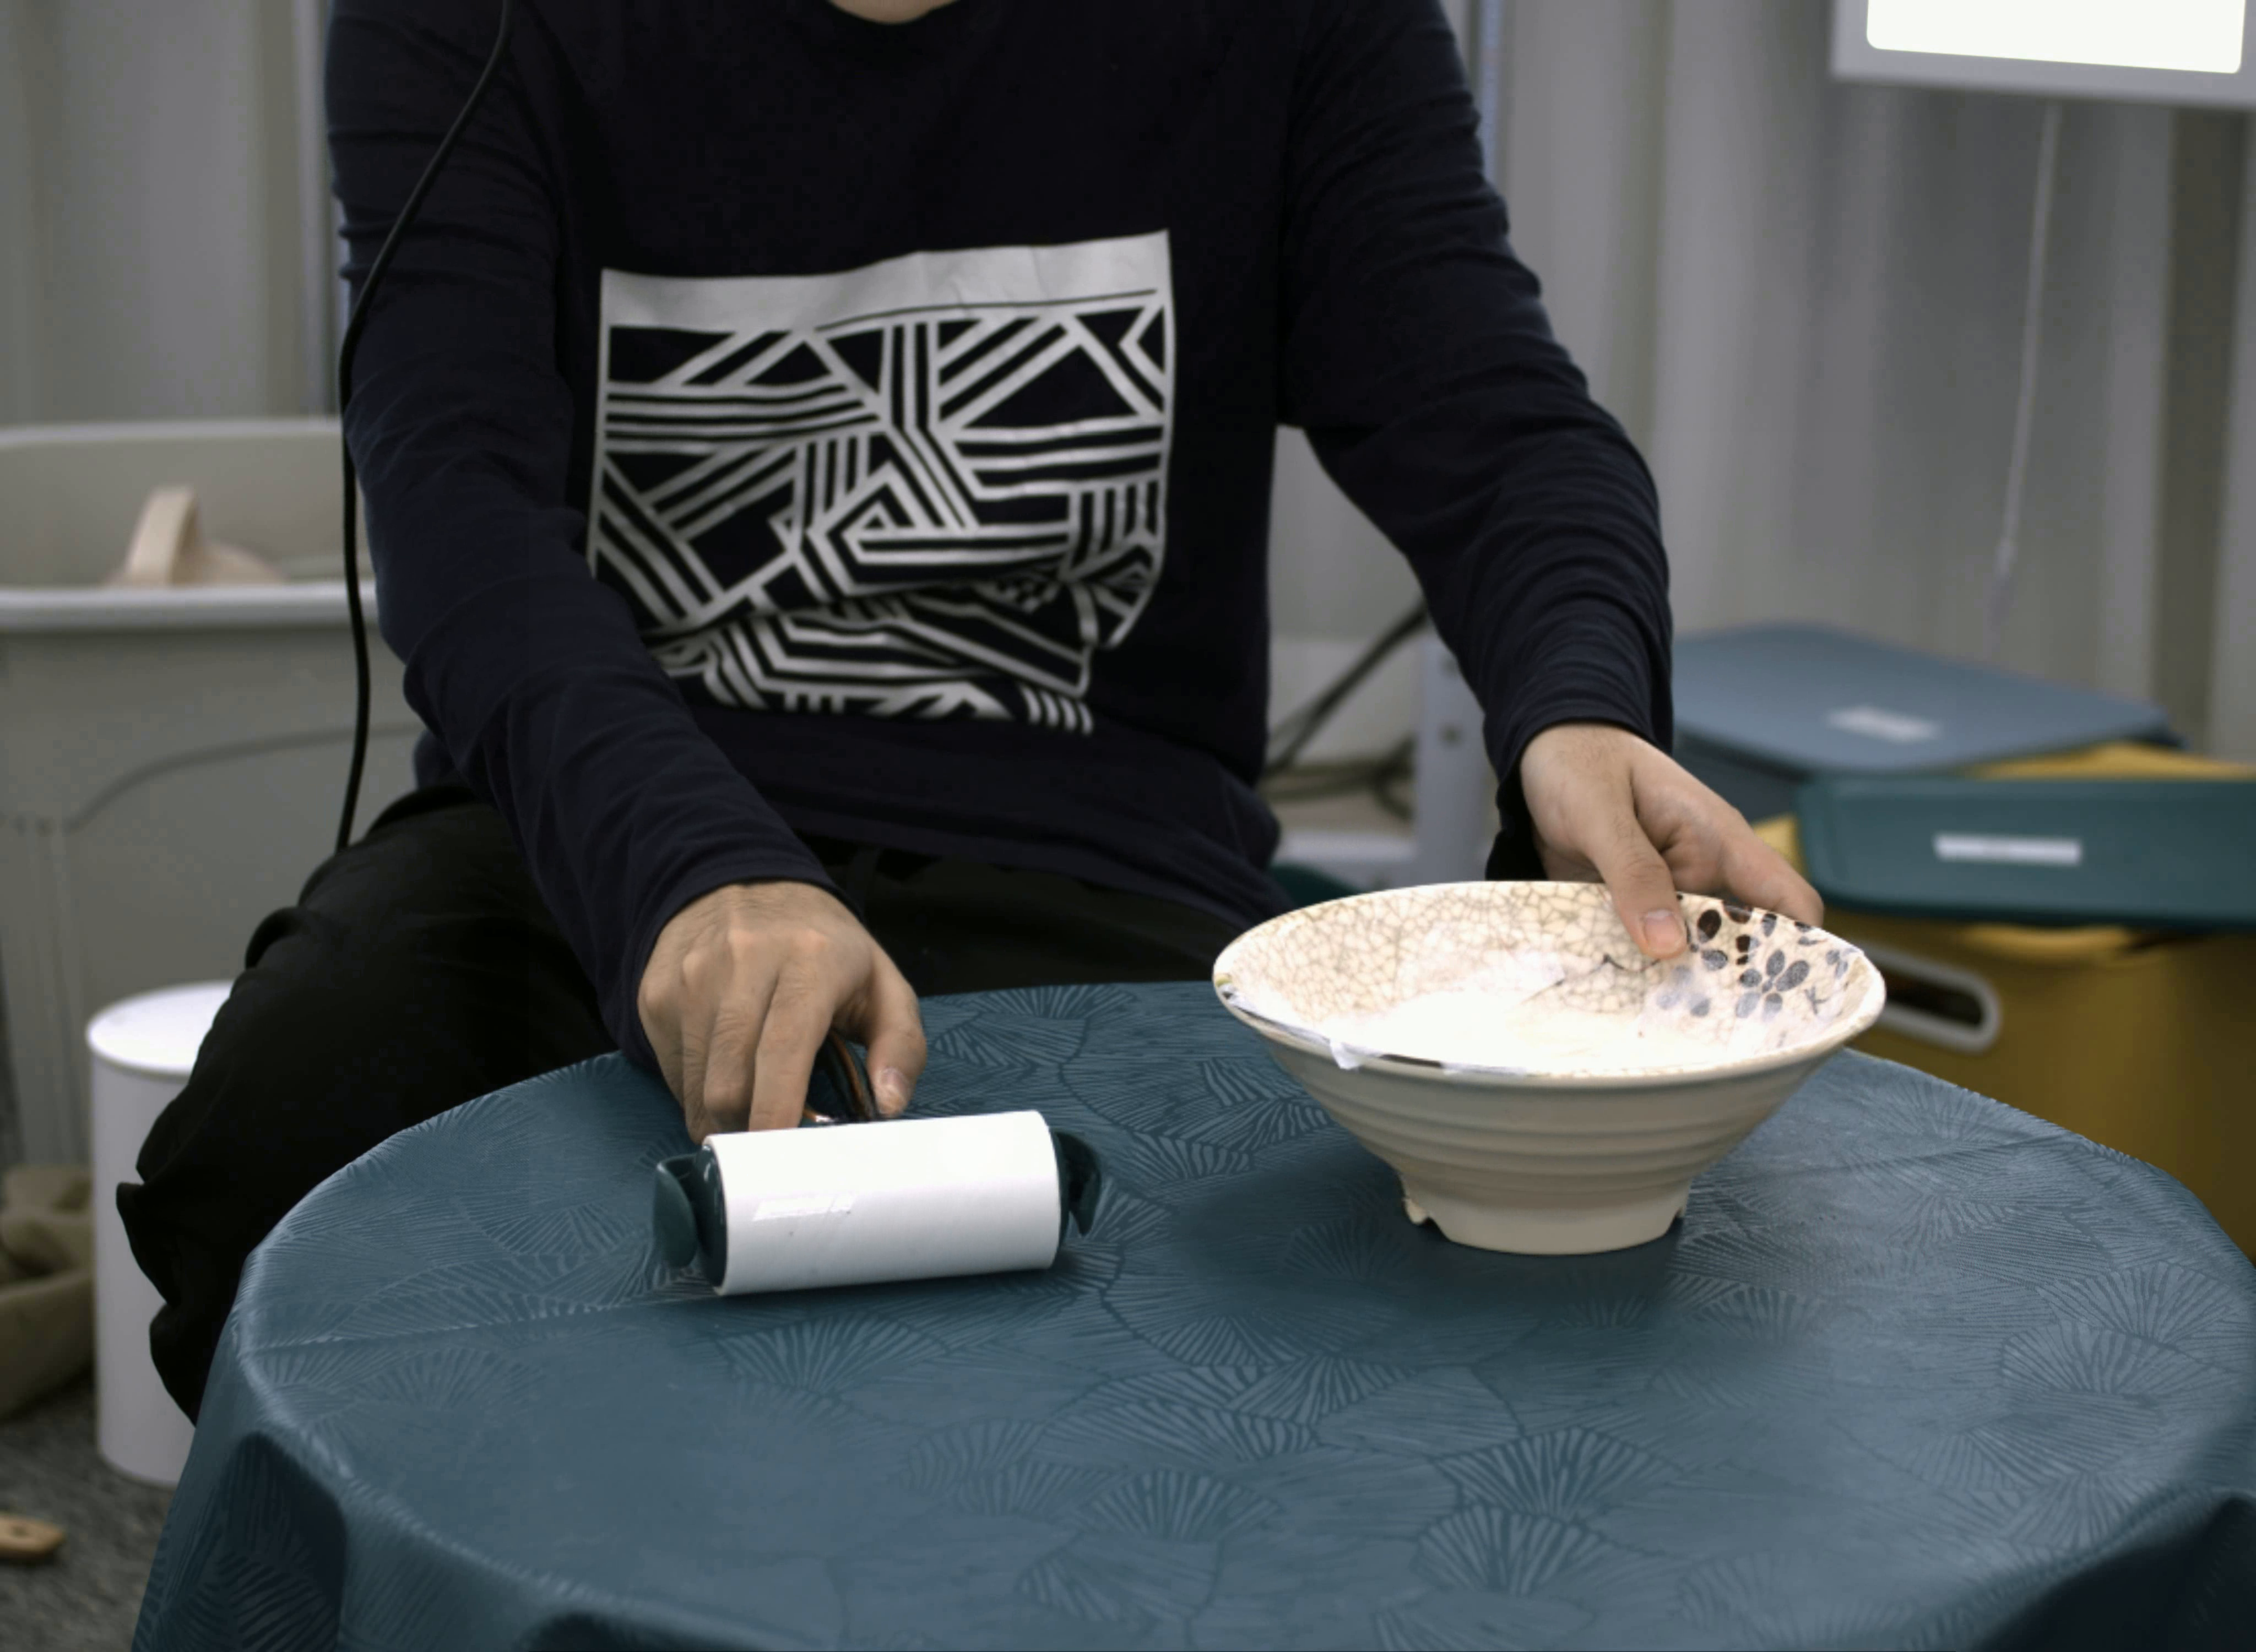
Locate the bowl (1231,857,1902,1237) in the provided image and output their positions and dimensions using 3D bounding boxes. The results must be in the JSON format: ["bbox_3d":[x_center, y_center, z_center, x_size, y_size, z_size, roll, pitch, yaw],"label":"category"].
[{"bbox_3d":[0.129,0.074,1.598,0.203,0.078,0.203,4,15,-1],"label":"bowl"}]

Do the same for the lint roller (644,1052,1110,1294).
[{"bbox_3d":[-0.092,0.086,1.600,0.134,0.049,0.178,-4,22,-15],"label":"lint roller"}]
